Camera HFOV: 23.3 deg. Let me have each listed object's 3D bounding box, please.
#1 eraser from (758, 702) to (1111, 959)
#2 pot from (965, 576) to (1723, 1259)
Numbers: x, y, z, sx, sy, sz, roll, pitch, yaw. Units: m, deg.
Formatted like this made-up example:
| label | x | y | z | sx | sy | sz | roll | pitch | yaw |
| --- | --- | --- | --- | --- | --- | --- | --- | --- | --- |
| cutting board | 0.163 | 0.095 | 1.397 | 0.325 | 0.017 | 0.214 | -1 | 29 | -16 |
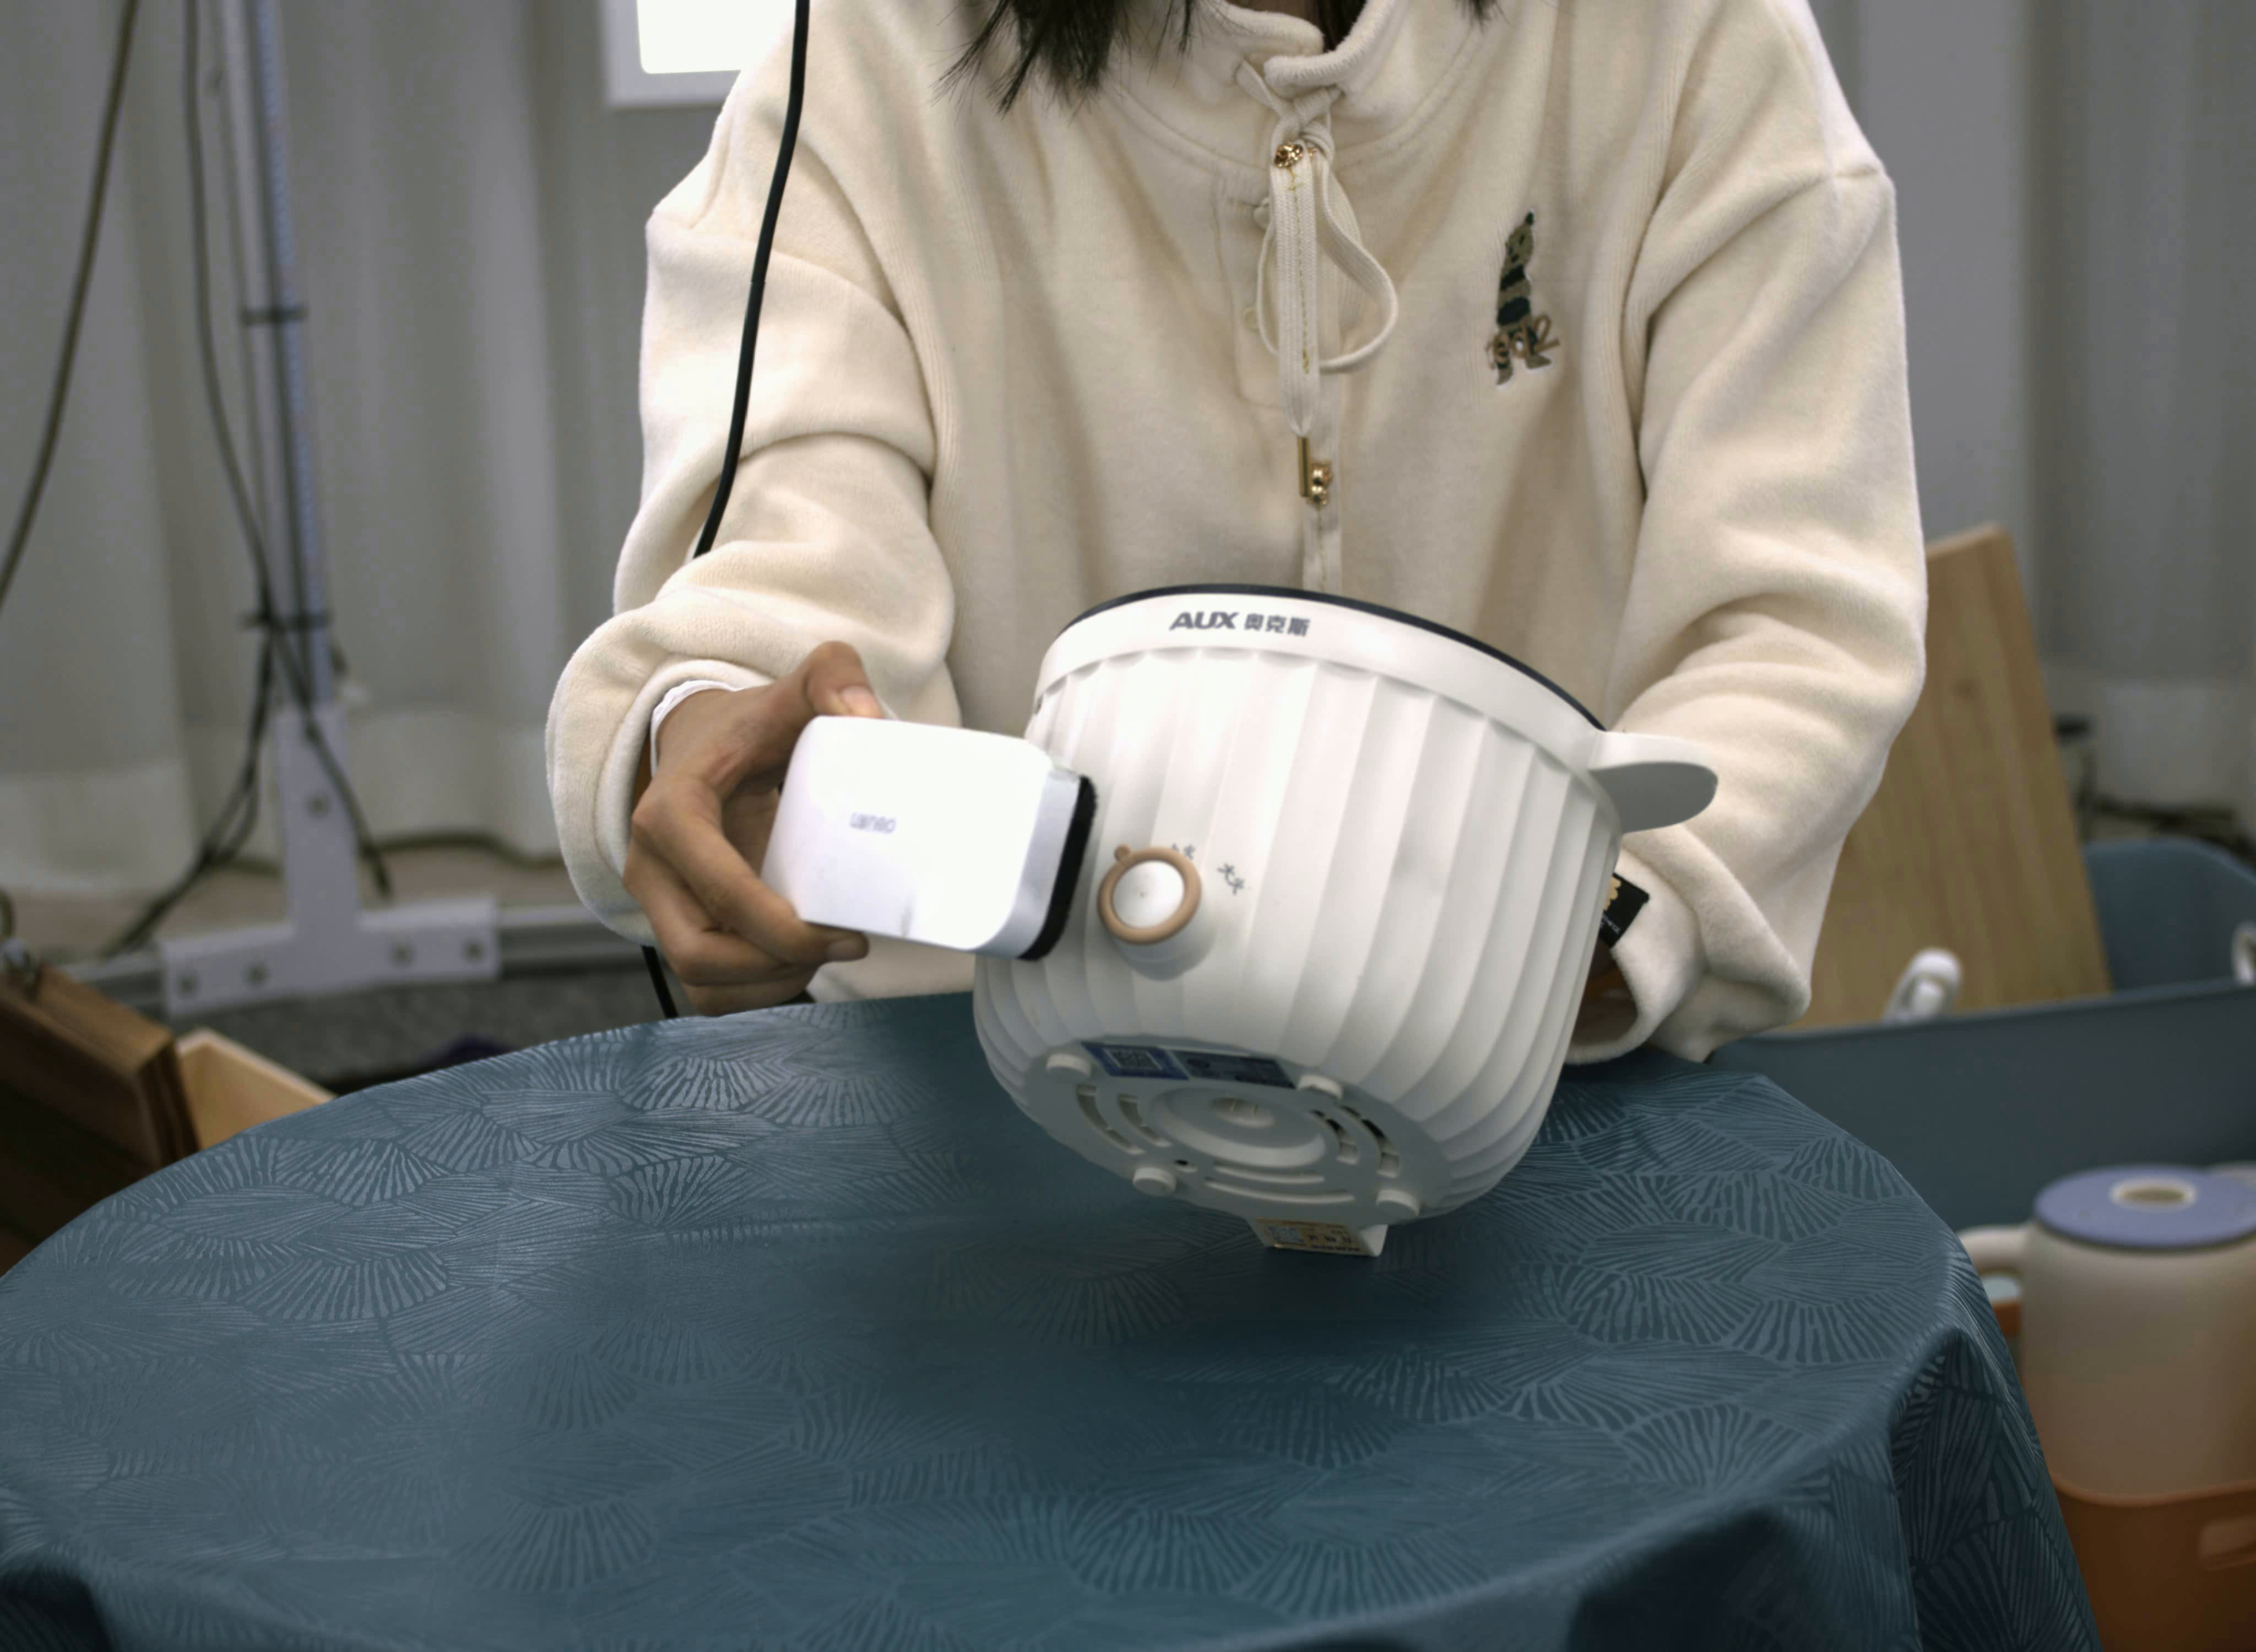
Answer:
| label | x | y | z | sx | sy | sz | roll | pitch | yaw |
| --- | --- | --- | --- | --- | --- | --- | --- | --- | --- |
| eraser | -0.057 | 0.001 | 1.544 | 0.034 | 0.064 | 0.132 | 23 | -9 | -35 |
| pot | 0.046 | 0.028 | 1.605 | 0.240 | 0.188 | 0.144 | 3 | 58 | 22 |
